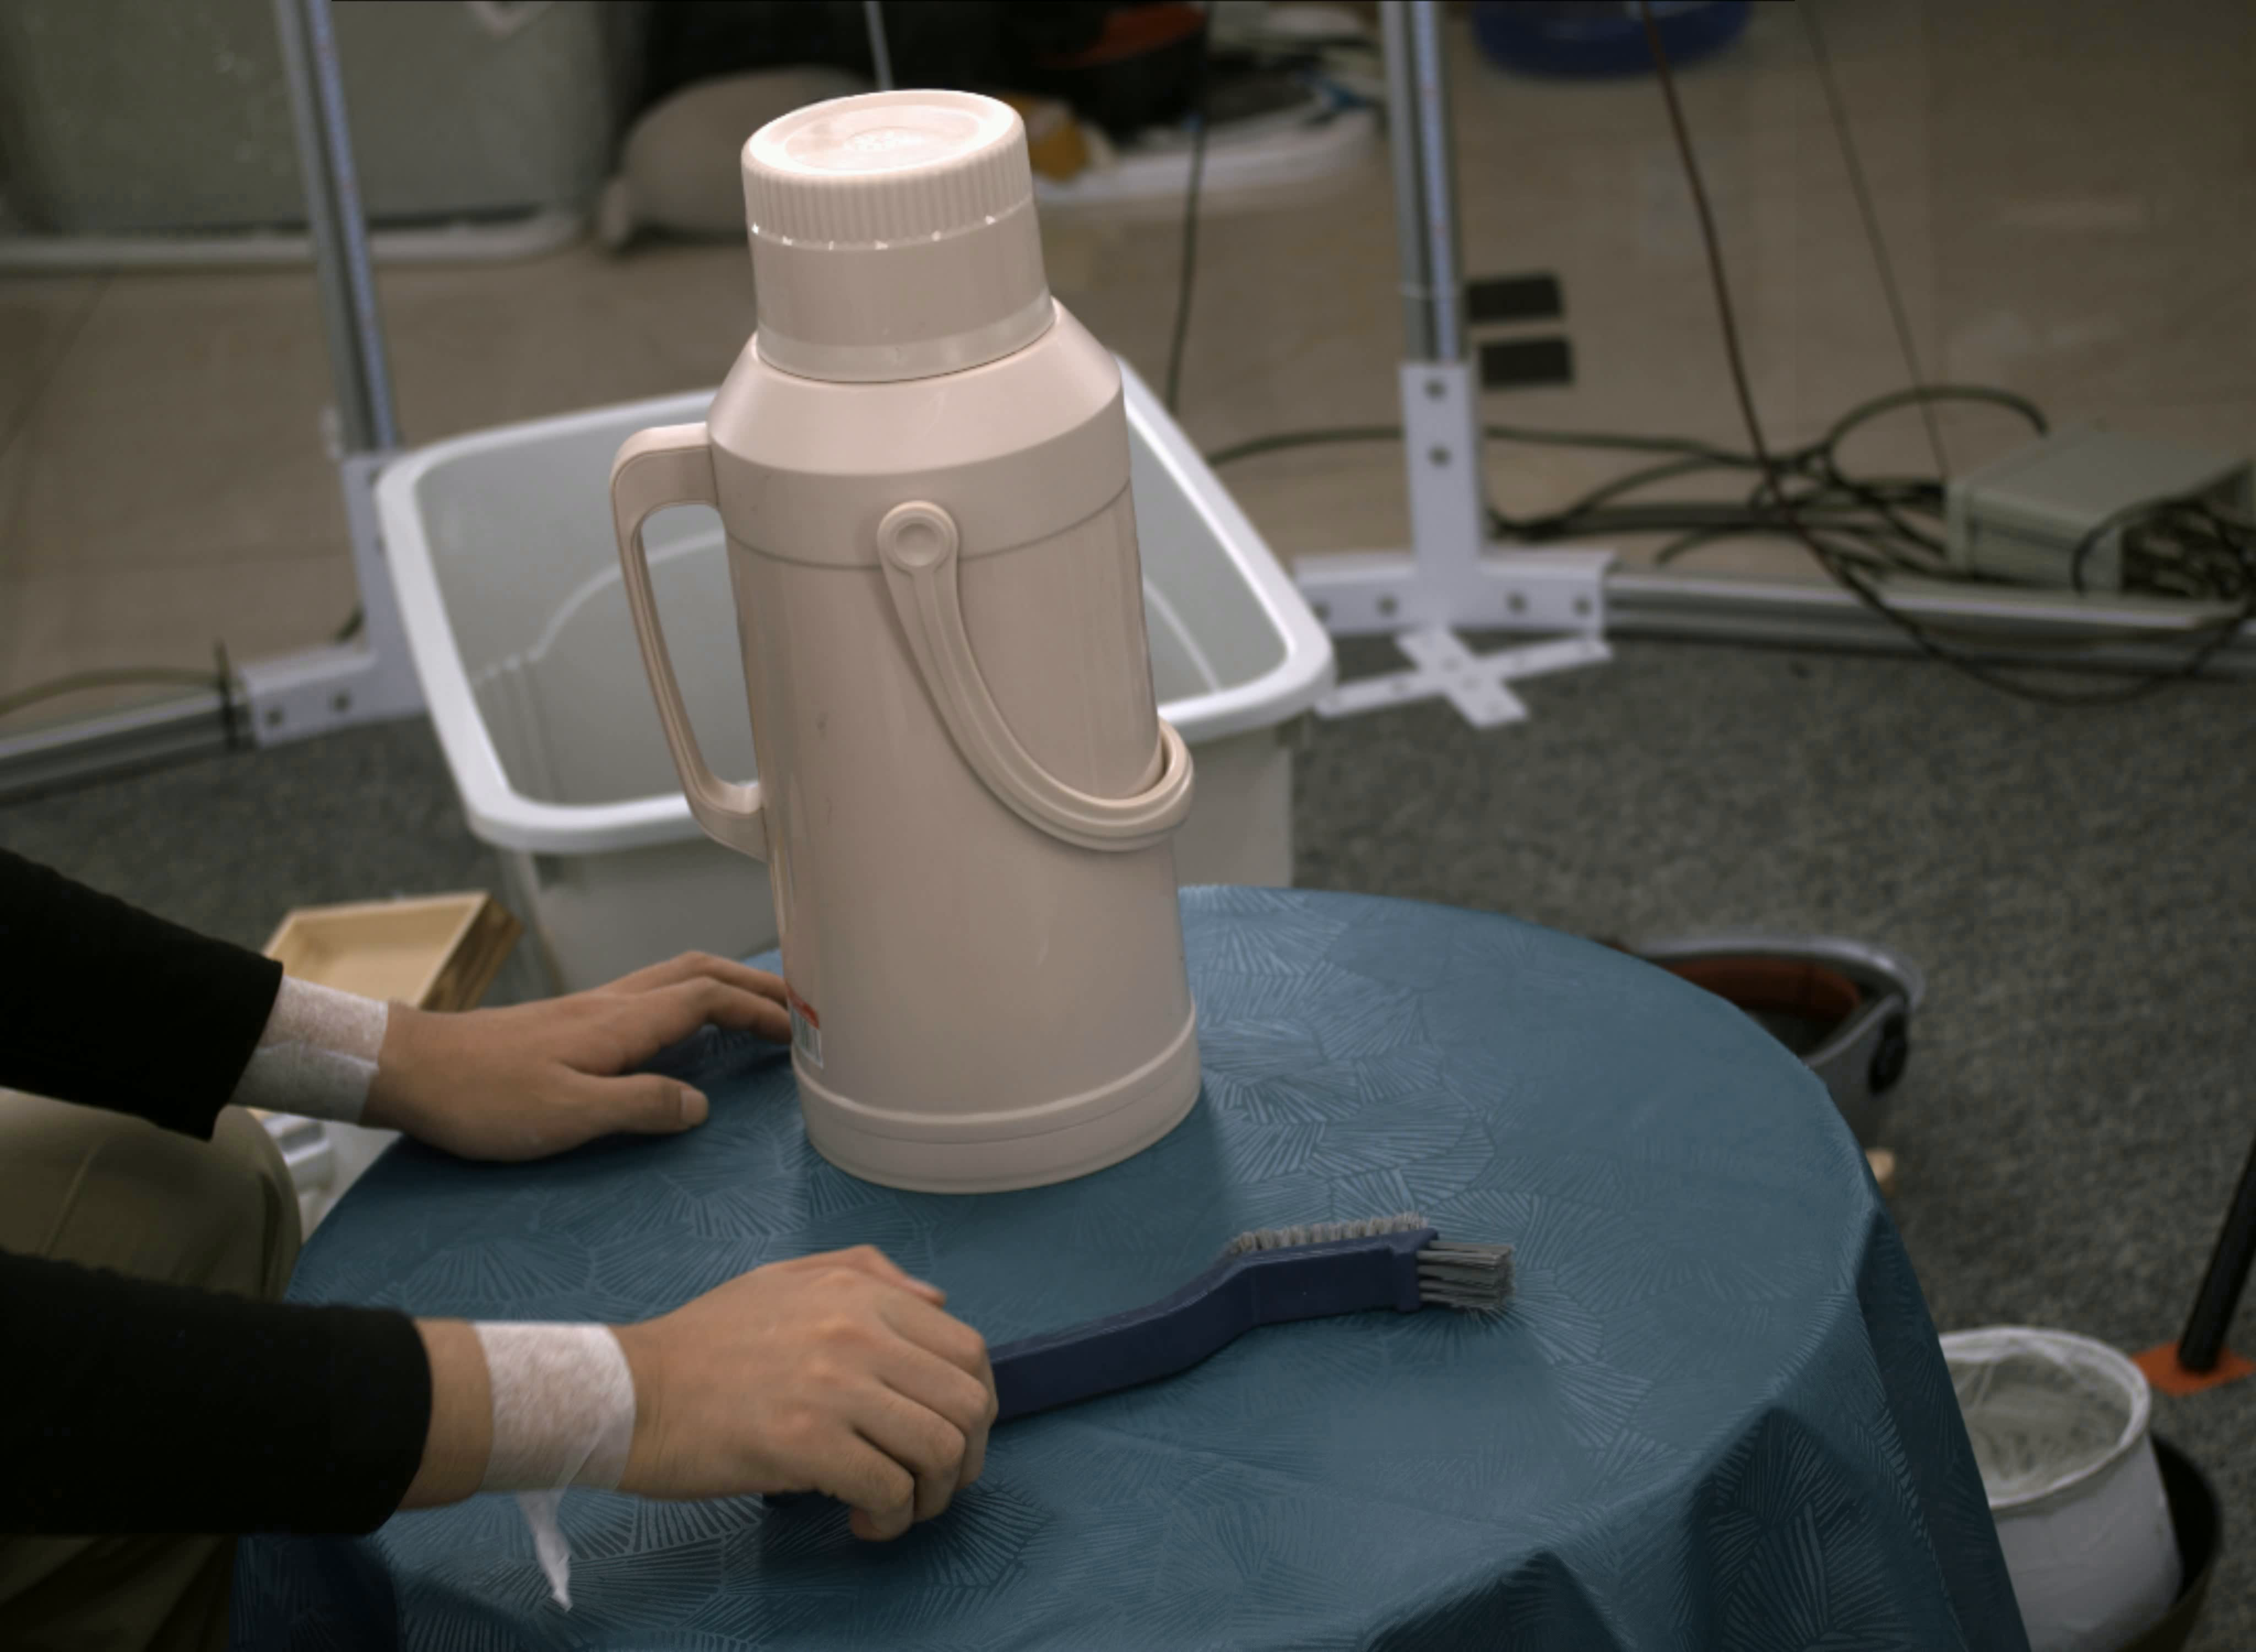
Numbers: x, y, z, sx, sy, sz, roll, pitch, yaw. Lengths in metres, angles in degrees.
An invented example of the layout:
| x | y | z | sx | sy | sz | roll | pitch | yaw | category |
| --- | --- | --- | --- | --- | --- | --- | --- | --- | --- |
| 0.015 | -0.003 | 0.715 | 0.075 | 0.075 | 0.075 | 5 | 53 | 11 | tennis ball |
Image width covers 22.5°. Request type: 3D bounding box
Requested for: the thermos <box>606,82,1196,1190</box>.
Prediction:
| x | y | z | sx | sy | sz | roll | pitch | yaw | category |
| --- | --- | --- | --- | --- | --- | --- | --- | --- | --- |
| -0.085 | -0.071 | 2.143 | 0.207 | 0.413 | 0.172 | -6 | 27 | 1 | thermos |

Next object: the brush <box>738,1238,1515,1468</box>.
| x | y | z | sx | sy | sz | roll | pitch | yaw | category |
| --- | --- | --- | --- | --- | --- | --- | --- | --- | --- |
| -0.001 | 0.186 | 2.007 | 0.272 | 0.034 | 0.094 | -15 | 25 | -24 | brush |
